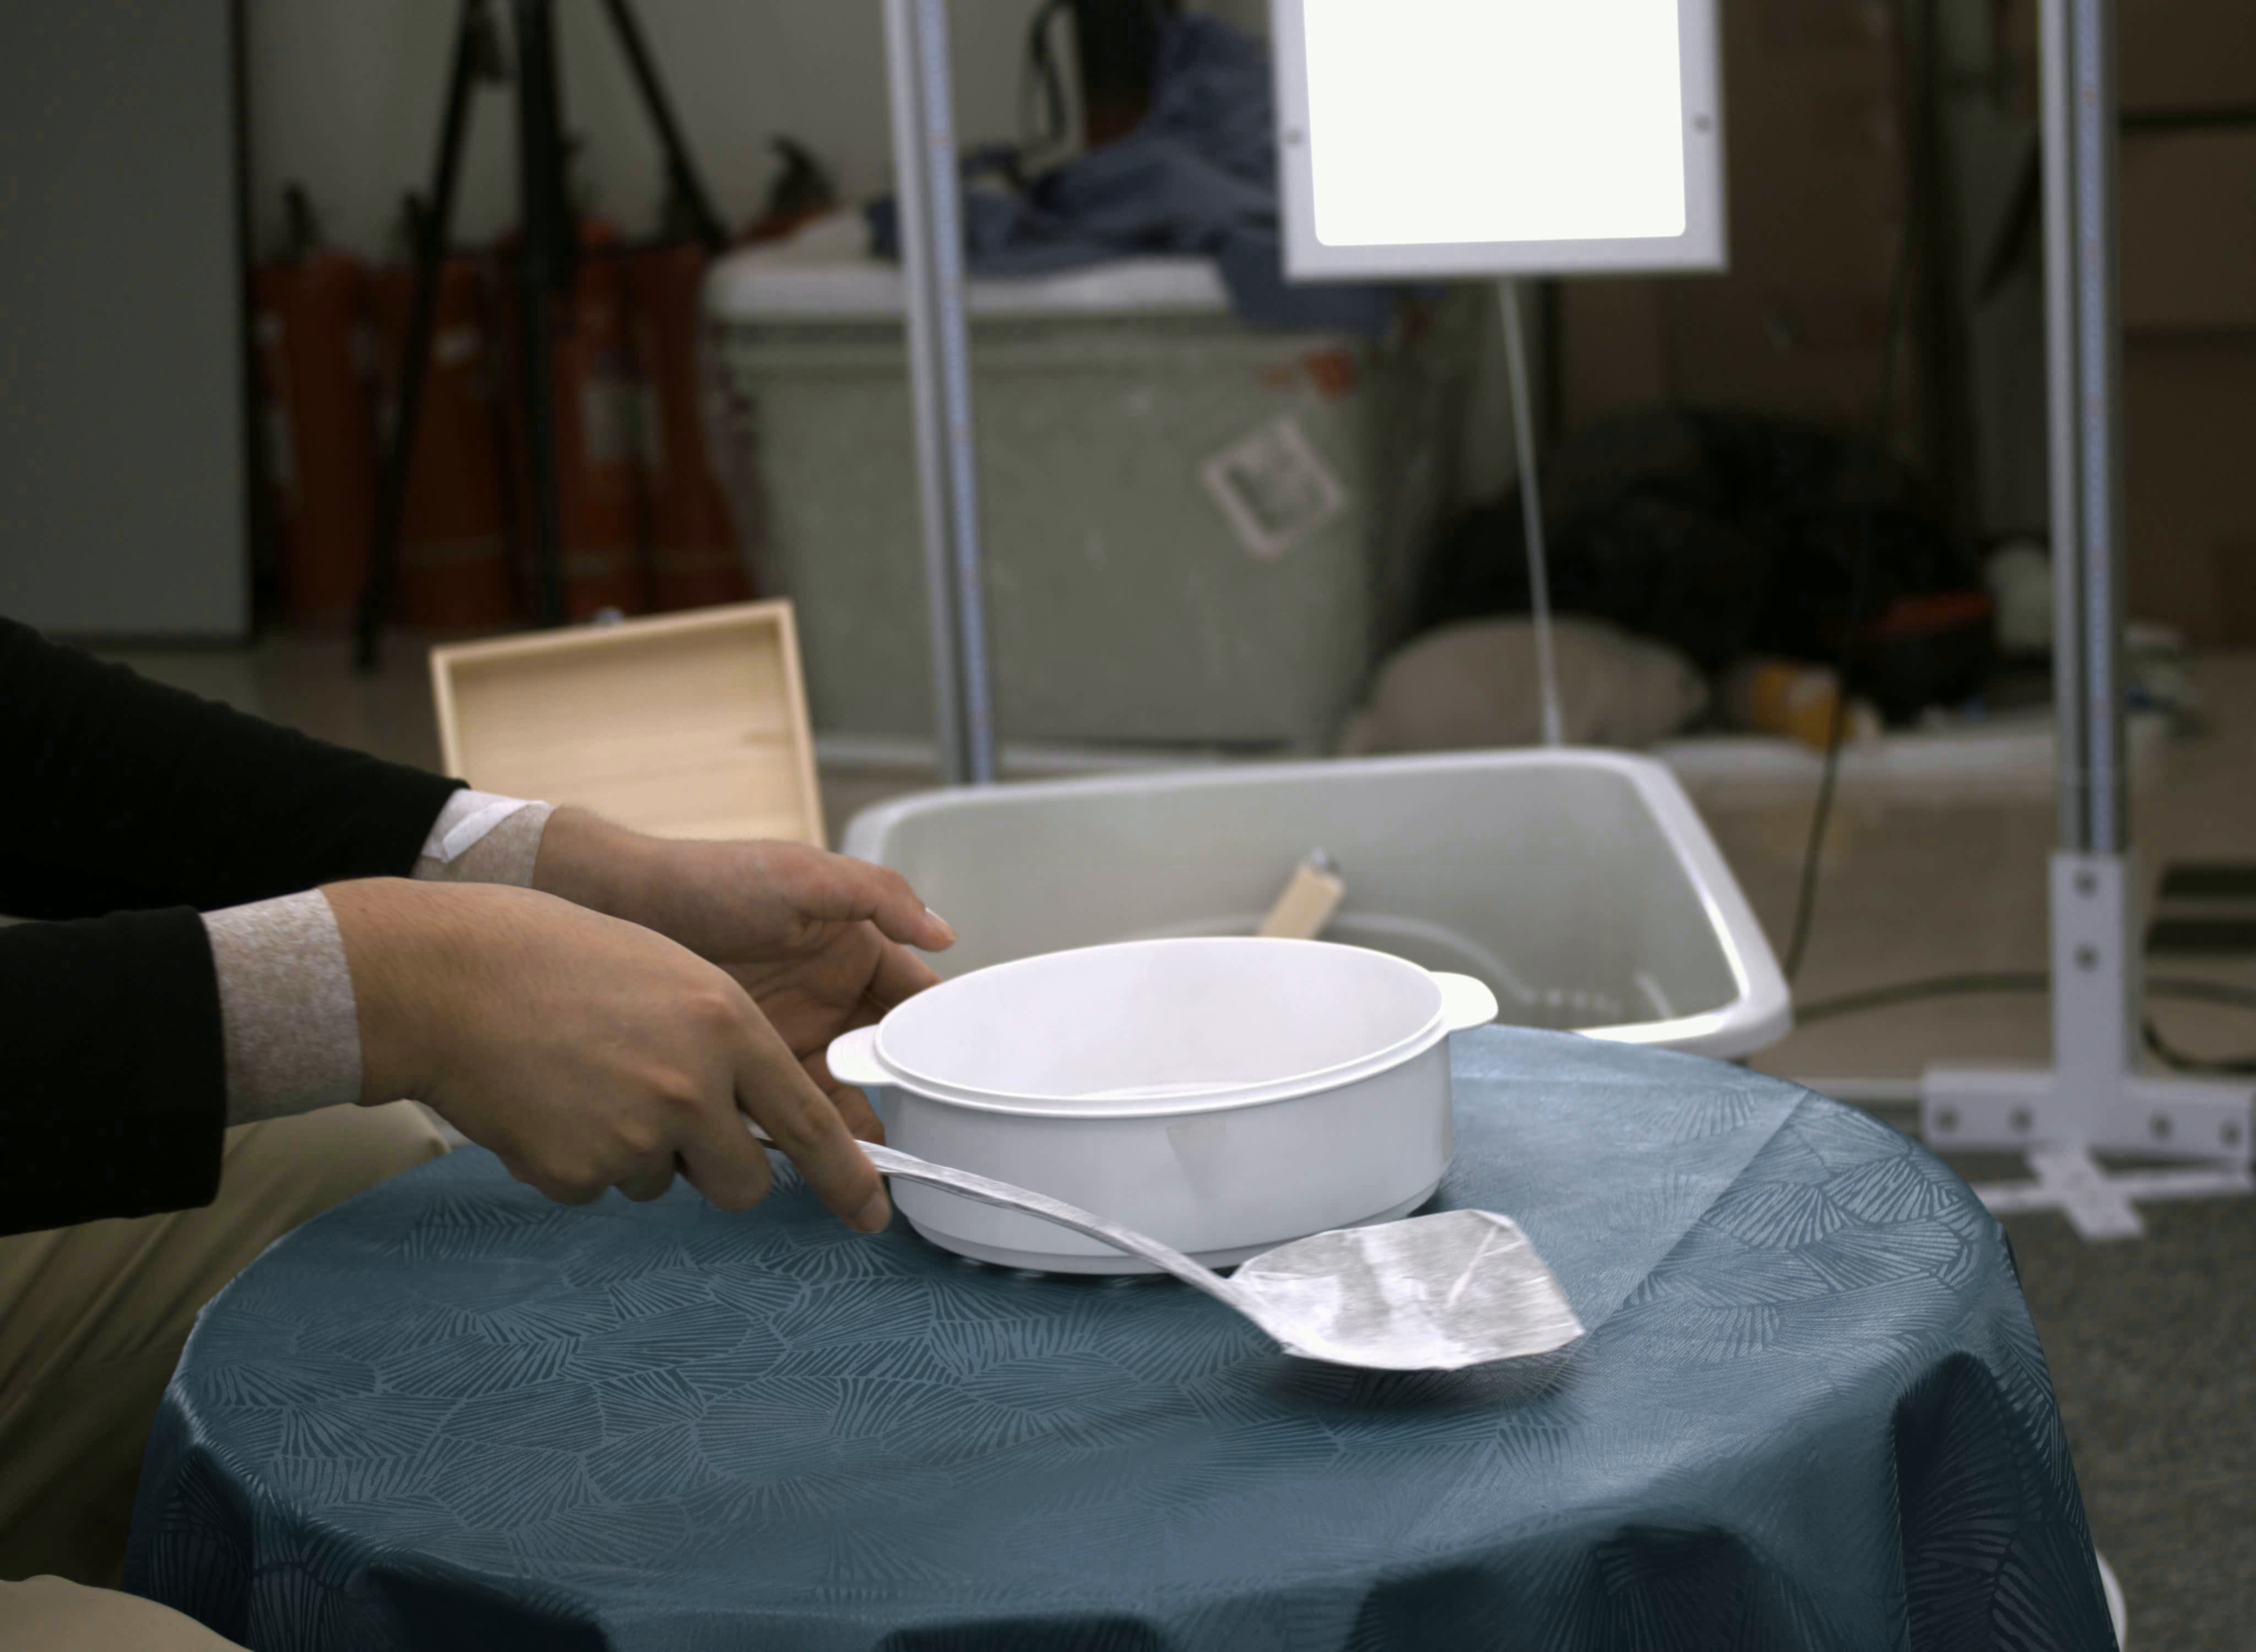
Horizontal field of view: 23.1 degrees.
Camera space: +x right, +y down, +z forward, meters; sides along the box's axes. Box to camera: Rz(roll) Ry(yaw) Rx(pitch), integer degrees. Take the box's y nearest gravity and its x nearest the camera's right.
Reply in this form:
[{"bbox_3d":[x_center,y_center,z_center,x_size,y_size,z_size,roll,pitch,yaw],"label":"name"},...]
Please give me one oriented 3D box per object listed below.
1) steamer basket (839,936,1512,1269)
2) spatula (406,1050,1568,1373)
[{"bbox_3d":[0.019,0.094,1.876,0.230,0.069,0.202,-7,13,-1],"label":"steamer basket"},{"bbox_3d":[-0.039,0.107,1.660,0.360,0.045,0.099,18,20,-16],"label":"spatula"}]
